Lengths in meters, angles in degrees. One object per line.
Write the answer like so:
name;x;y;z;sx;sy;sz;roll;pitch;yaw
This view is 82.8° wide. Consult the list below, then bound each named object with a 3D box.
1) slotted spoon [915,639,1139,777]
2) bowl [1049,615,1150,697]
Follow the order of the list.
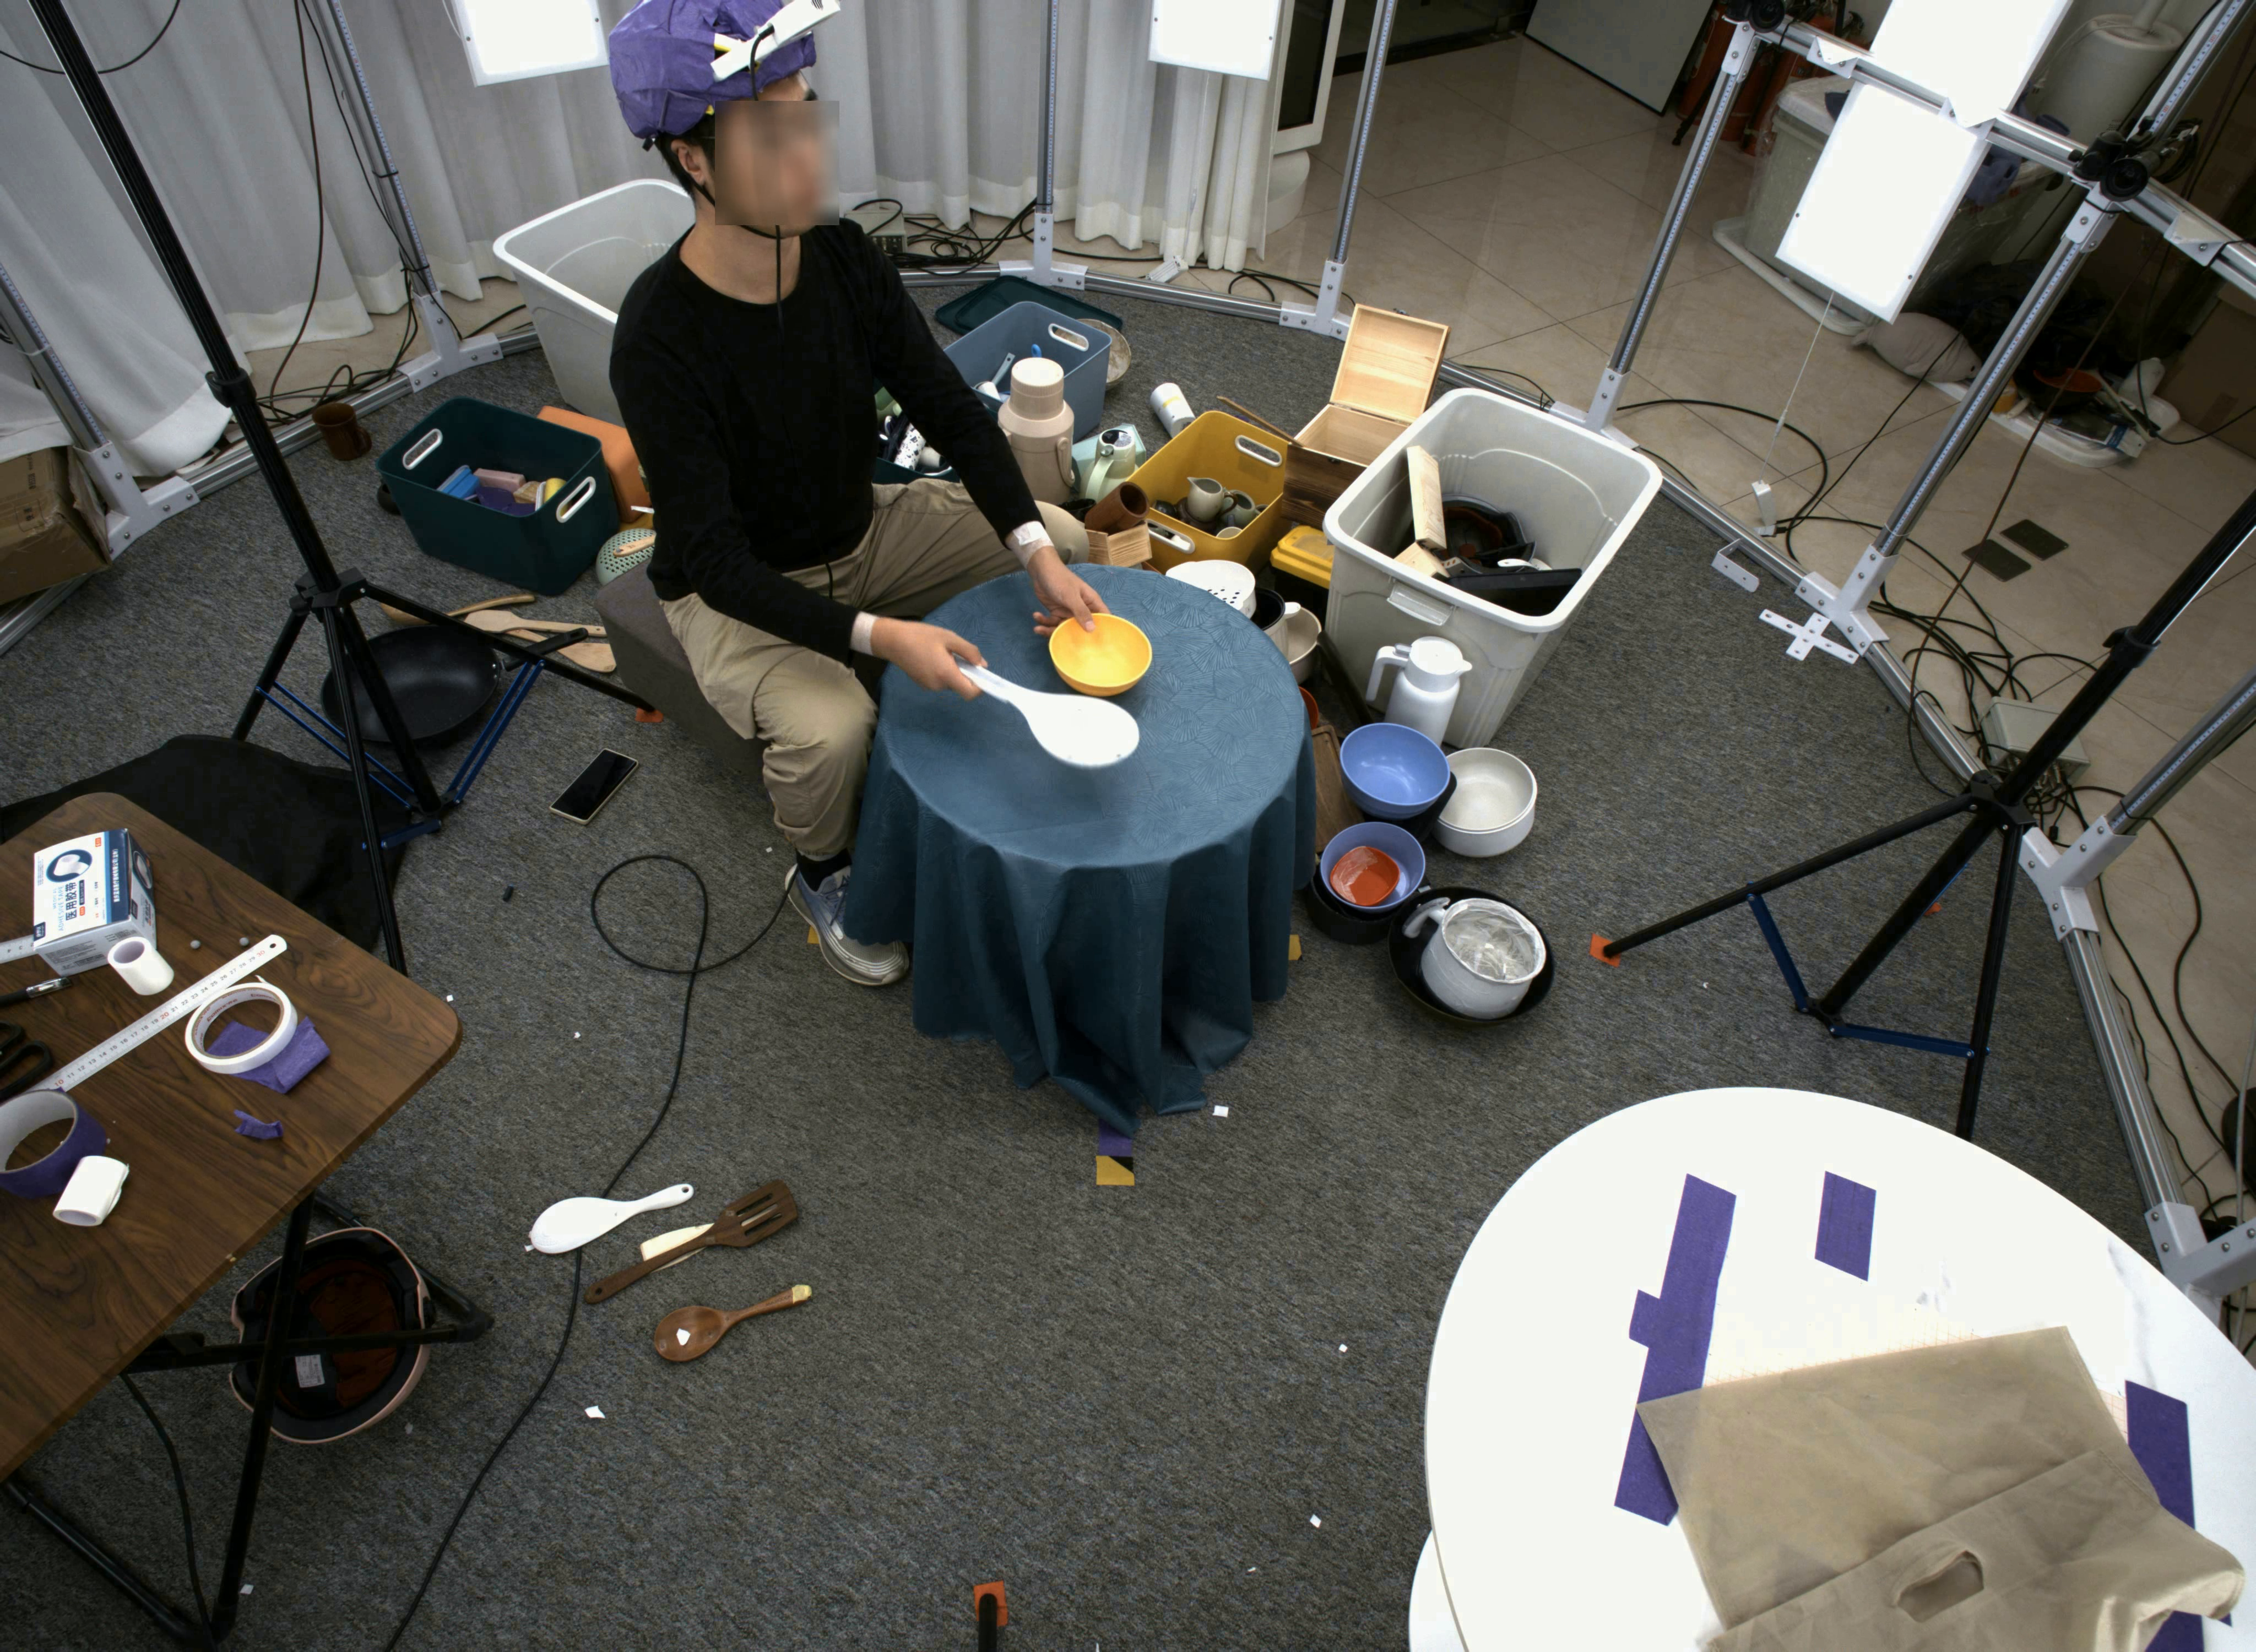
slotted spoon;-0.142;-0.161;1.693;0.353;0.045;0.138;34;49;17
bowl;-0.044;-0.231;1.829;0.145;0.059;0.149;5;50;-6
